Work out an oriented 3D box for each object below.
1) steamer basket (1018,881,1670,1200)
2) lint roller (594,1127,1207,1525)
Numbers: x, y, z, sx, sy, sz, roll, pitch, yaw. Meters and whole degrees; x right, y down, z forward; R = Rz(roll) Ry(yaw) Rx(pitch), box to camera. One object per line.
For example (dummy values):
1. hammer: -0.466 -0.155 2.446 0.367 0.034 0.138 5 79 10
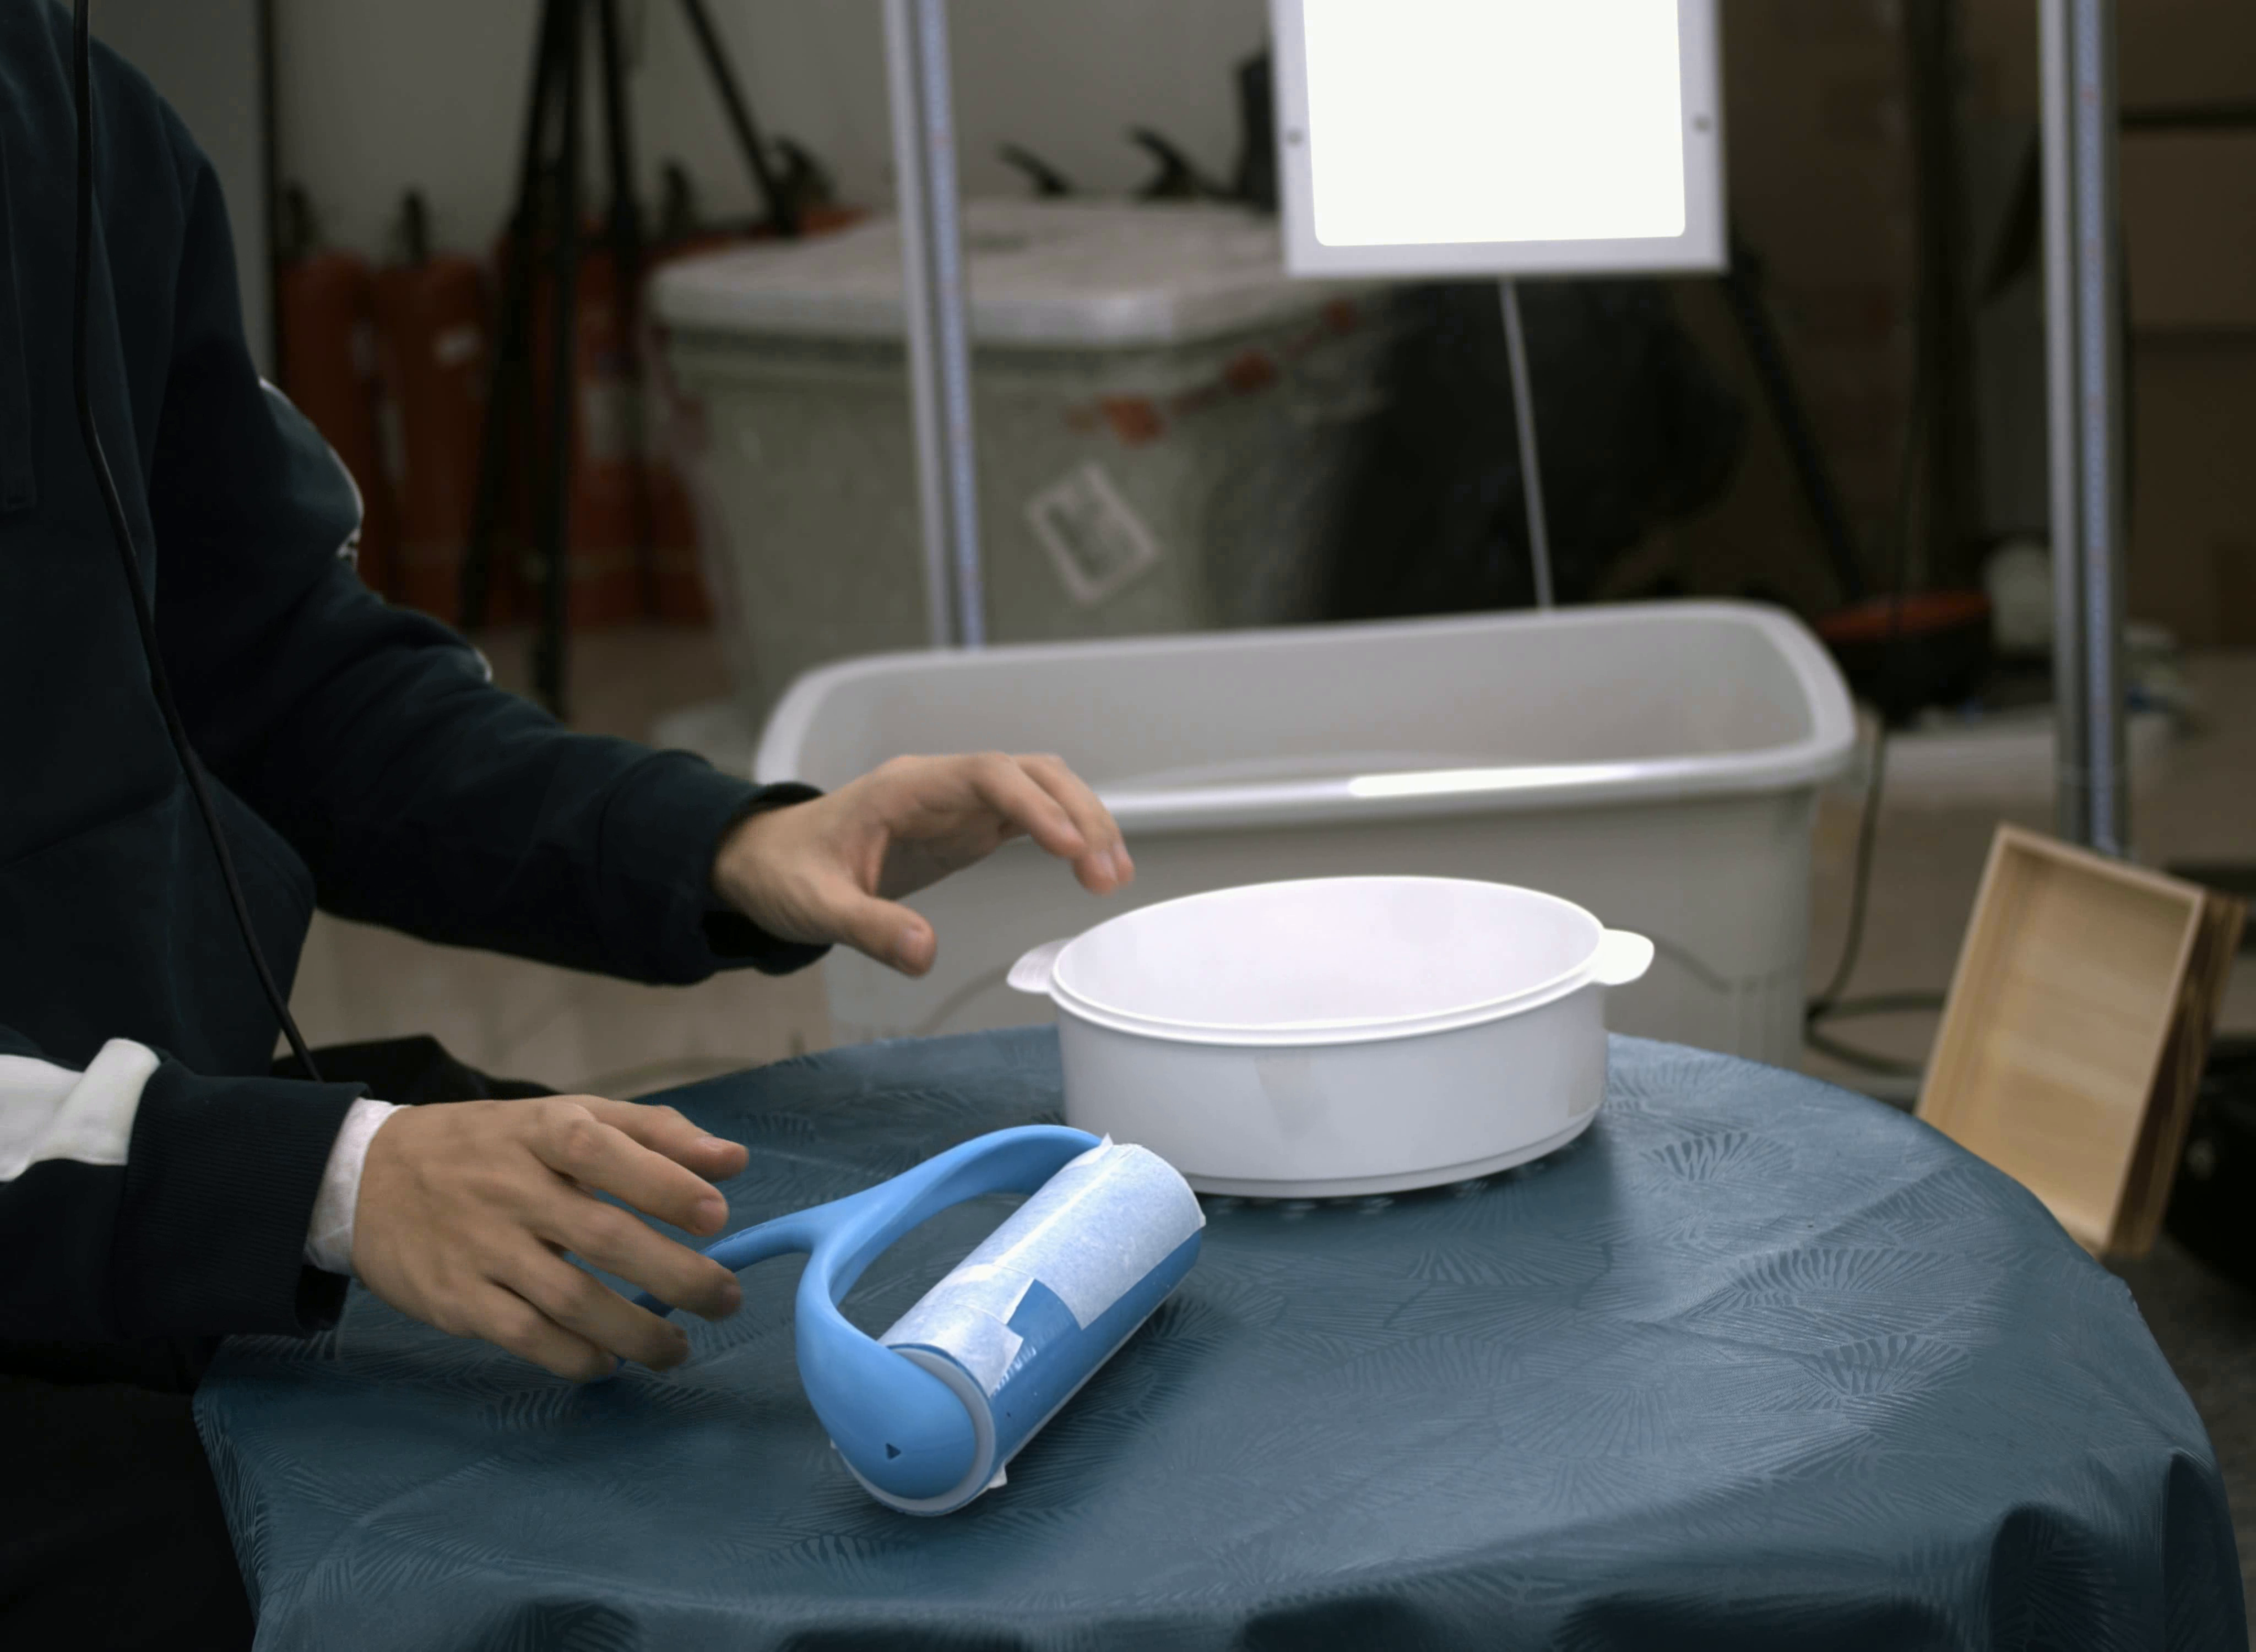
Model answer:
1. steamer basket: 0.078 0.075 1.933 0.233 0.069 0.199 -2 13 15
2. lint roller: -0.084 0.152 1.708 0.182 0.068 0.225 0 17 16
